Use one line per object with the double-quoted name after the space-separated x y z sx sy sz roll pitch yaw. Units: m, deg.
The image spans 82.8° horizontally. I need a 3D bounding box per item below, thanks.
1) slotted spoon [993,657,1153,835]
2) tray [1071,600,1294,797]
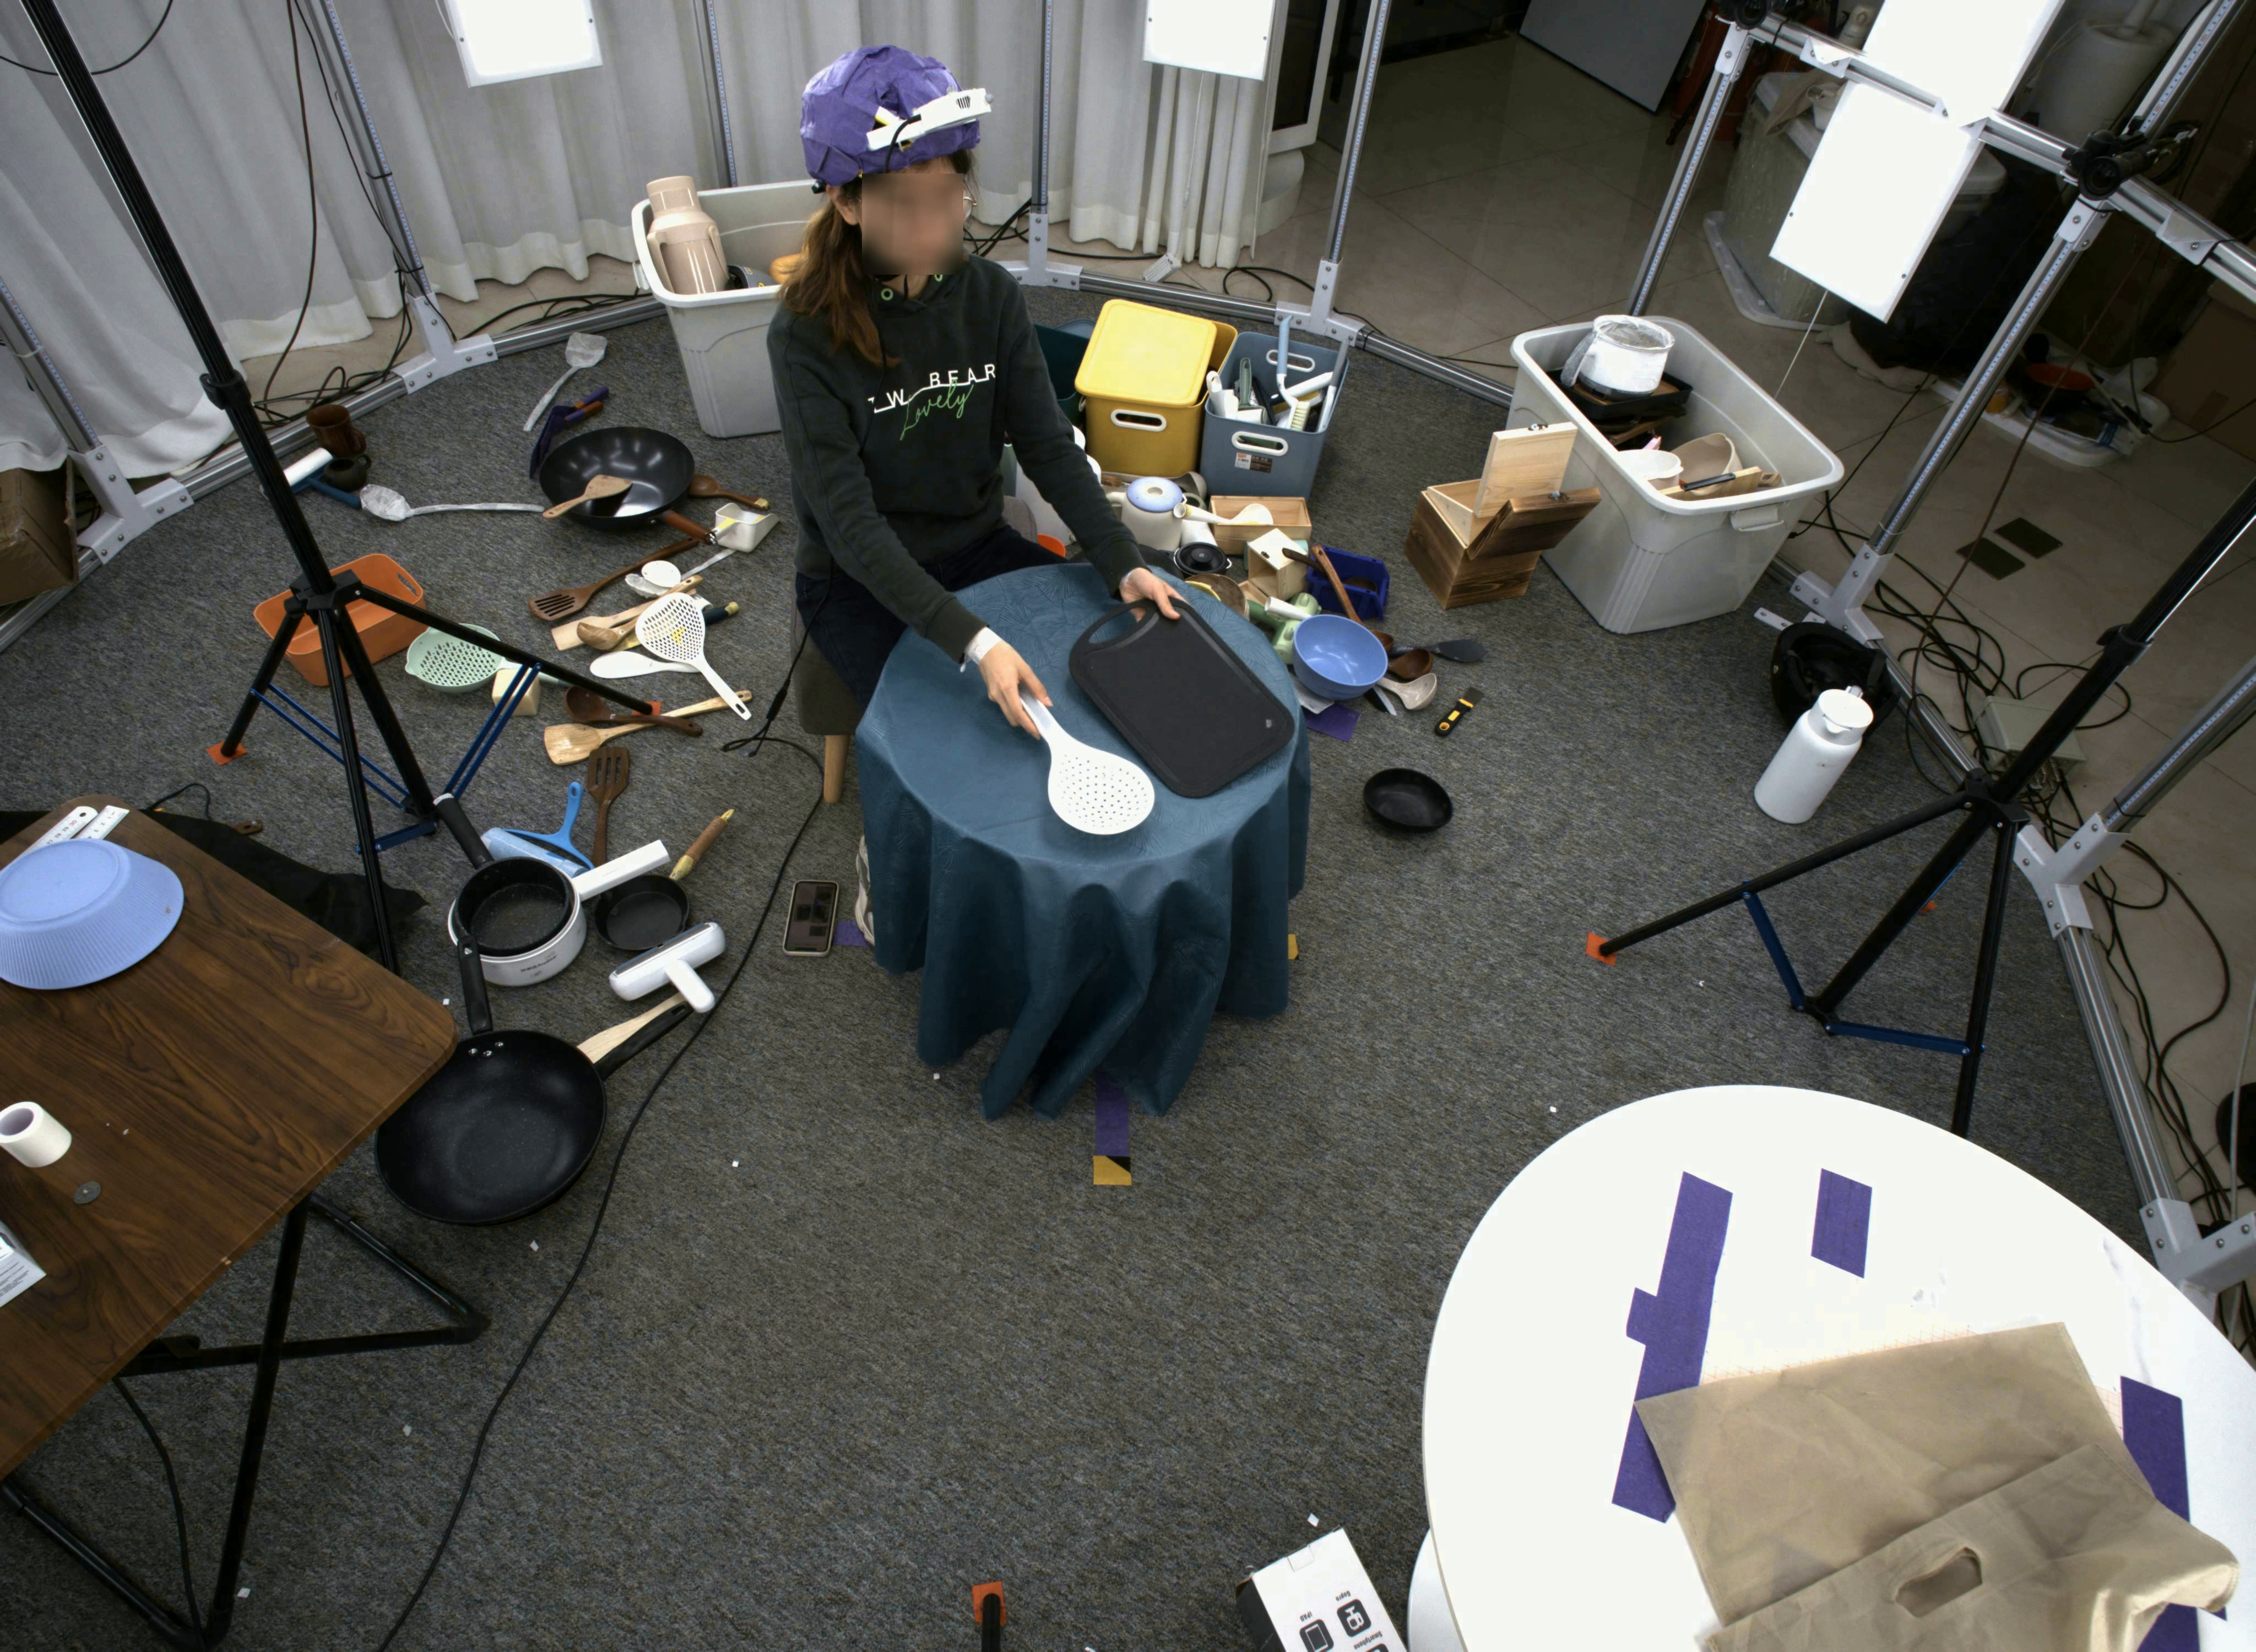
-0.091 -0.112 1.724 0.136 0.045 0.356 -21 59 -24 "slotted spoon"
0.069 -0.192 1.810 0.212 0.009 0.331 -31 64 -17 "tray"
